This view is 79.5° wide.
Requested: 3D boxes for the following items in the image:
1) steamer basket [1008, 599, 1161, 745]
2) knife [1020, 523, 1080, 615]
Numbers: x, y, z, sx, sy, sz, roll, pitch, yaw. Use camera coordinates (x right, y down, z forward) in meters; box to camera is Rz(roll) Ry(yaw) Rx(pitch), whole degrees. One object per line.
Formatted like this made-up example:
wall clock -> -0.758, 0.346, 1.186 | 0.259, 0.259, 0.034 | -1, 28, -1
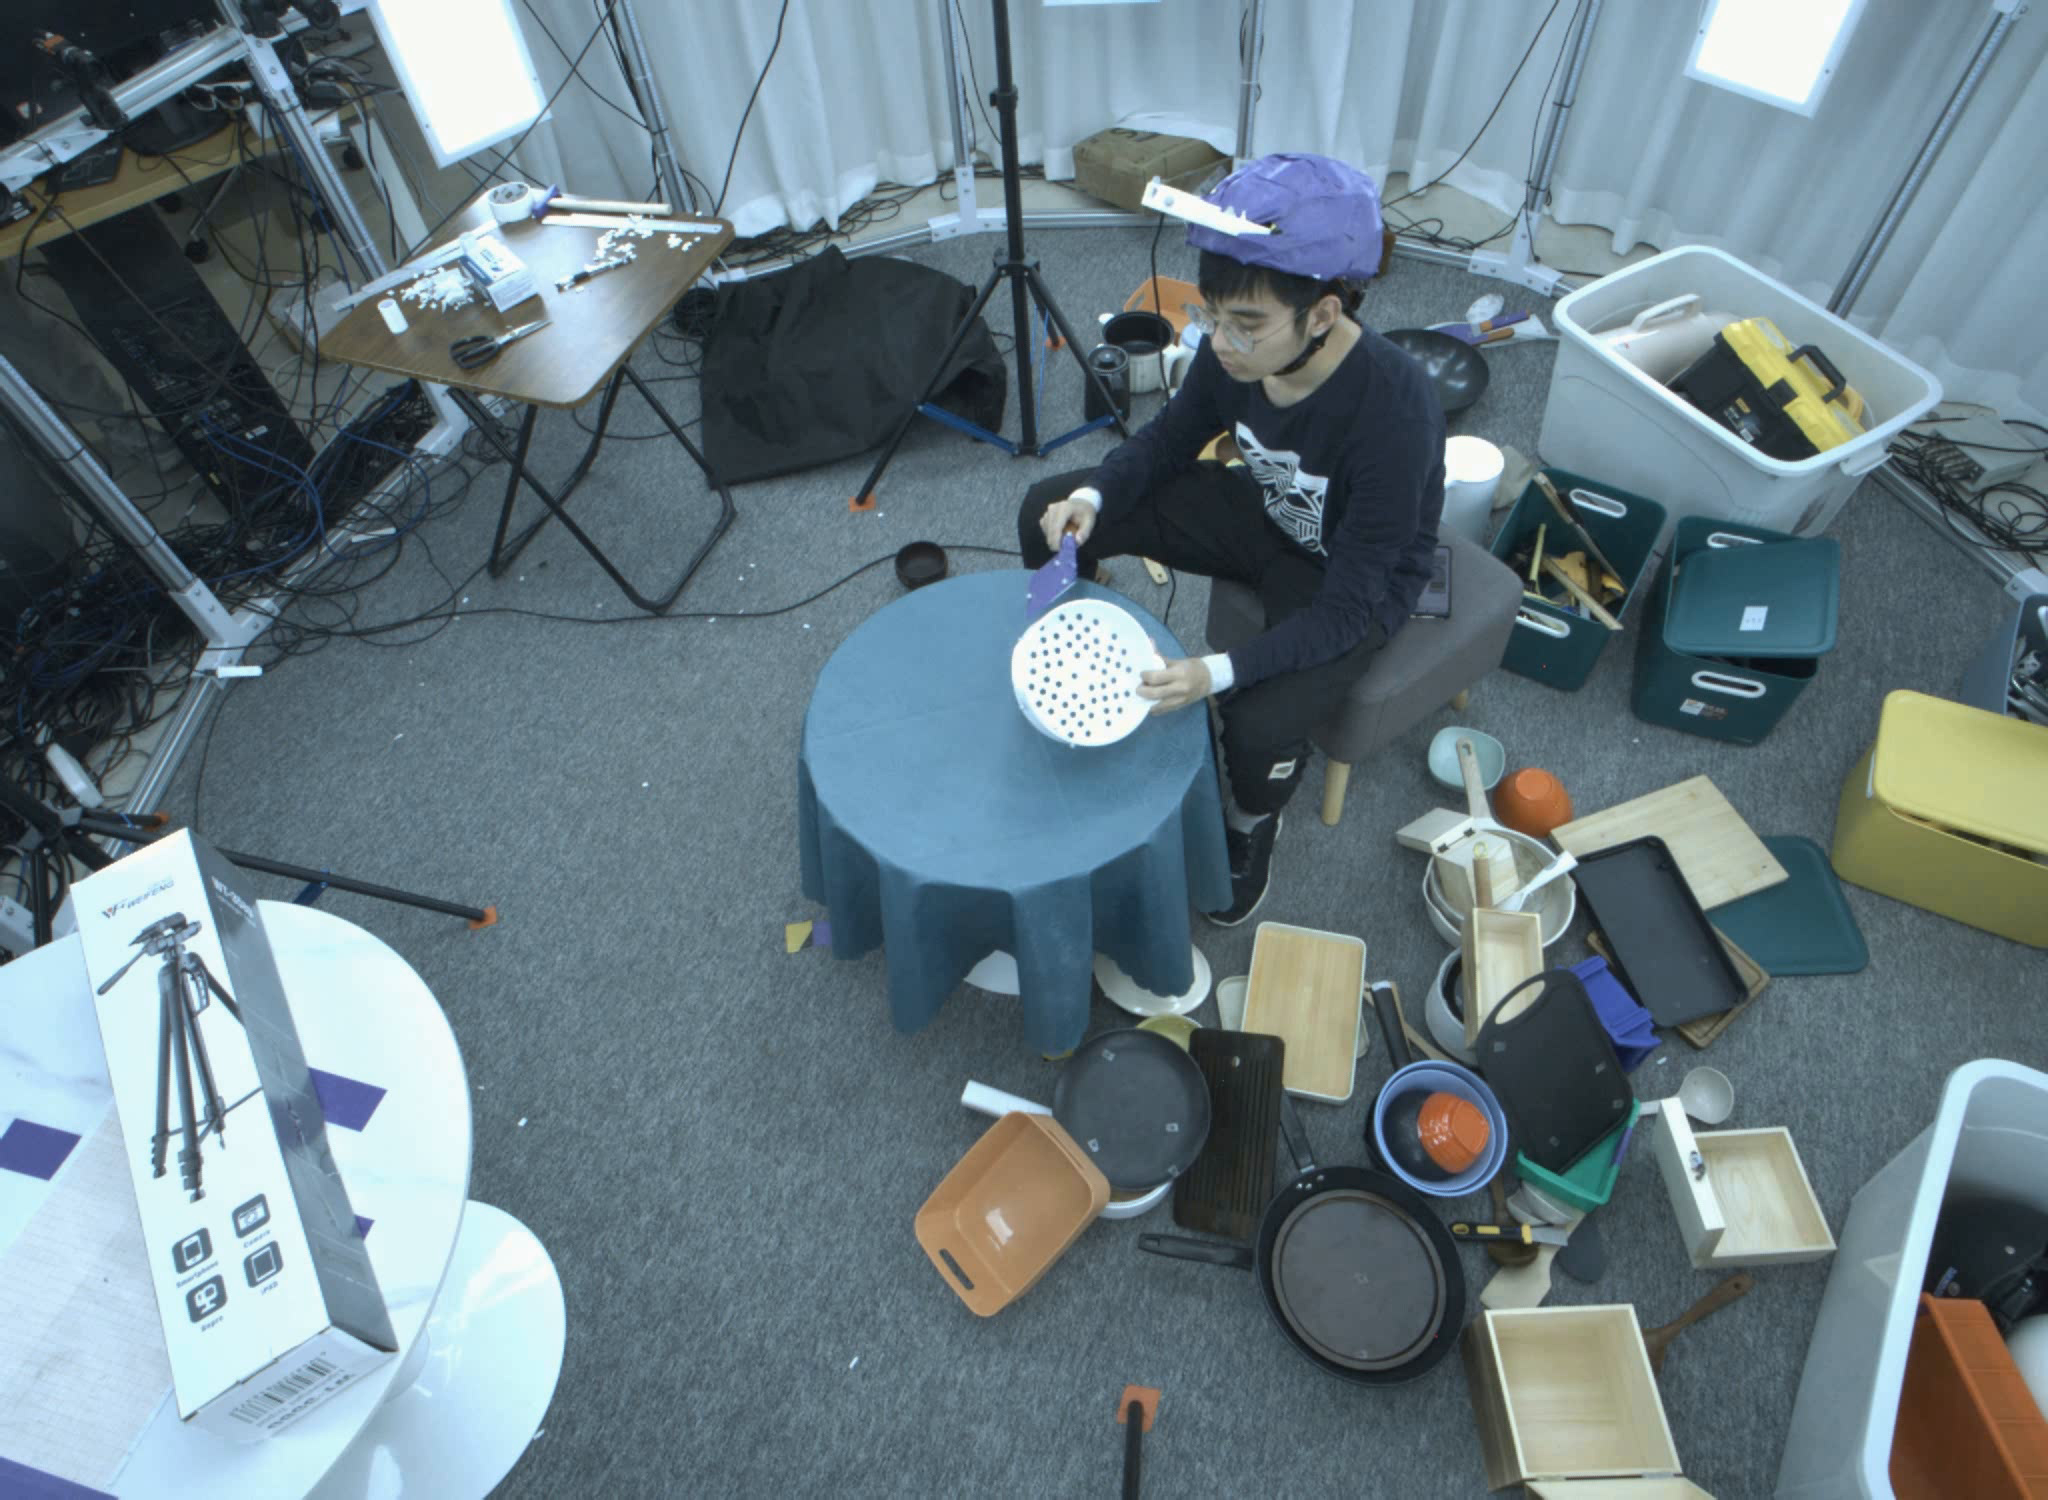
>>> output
steamer basket -> 0.077, -0.107, 1.719 | 0.235, 0.068, 0.201 | 6, 88, -25
knife -> 0.038, -0.272, 1.820 | 0.103, 0.032, 0.313 | -37, 16, 16
